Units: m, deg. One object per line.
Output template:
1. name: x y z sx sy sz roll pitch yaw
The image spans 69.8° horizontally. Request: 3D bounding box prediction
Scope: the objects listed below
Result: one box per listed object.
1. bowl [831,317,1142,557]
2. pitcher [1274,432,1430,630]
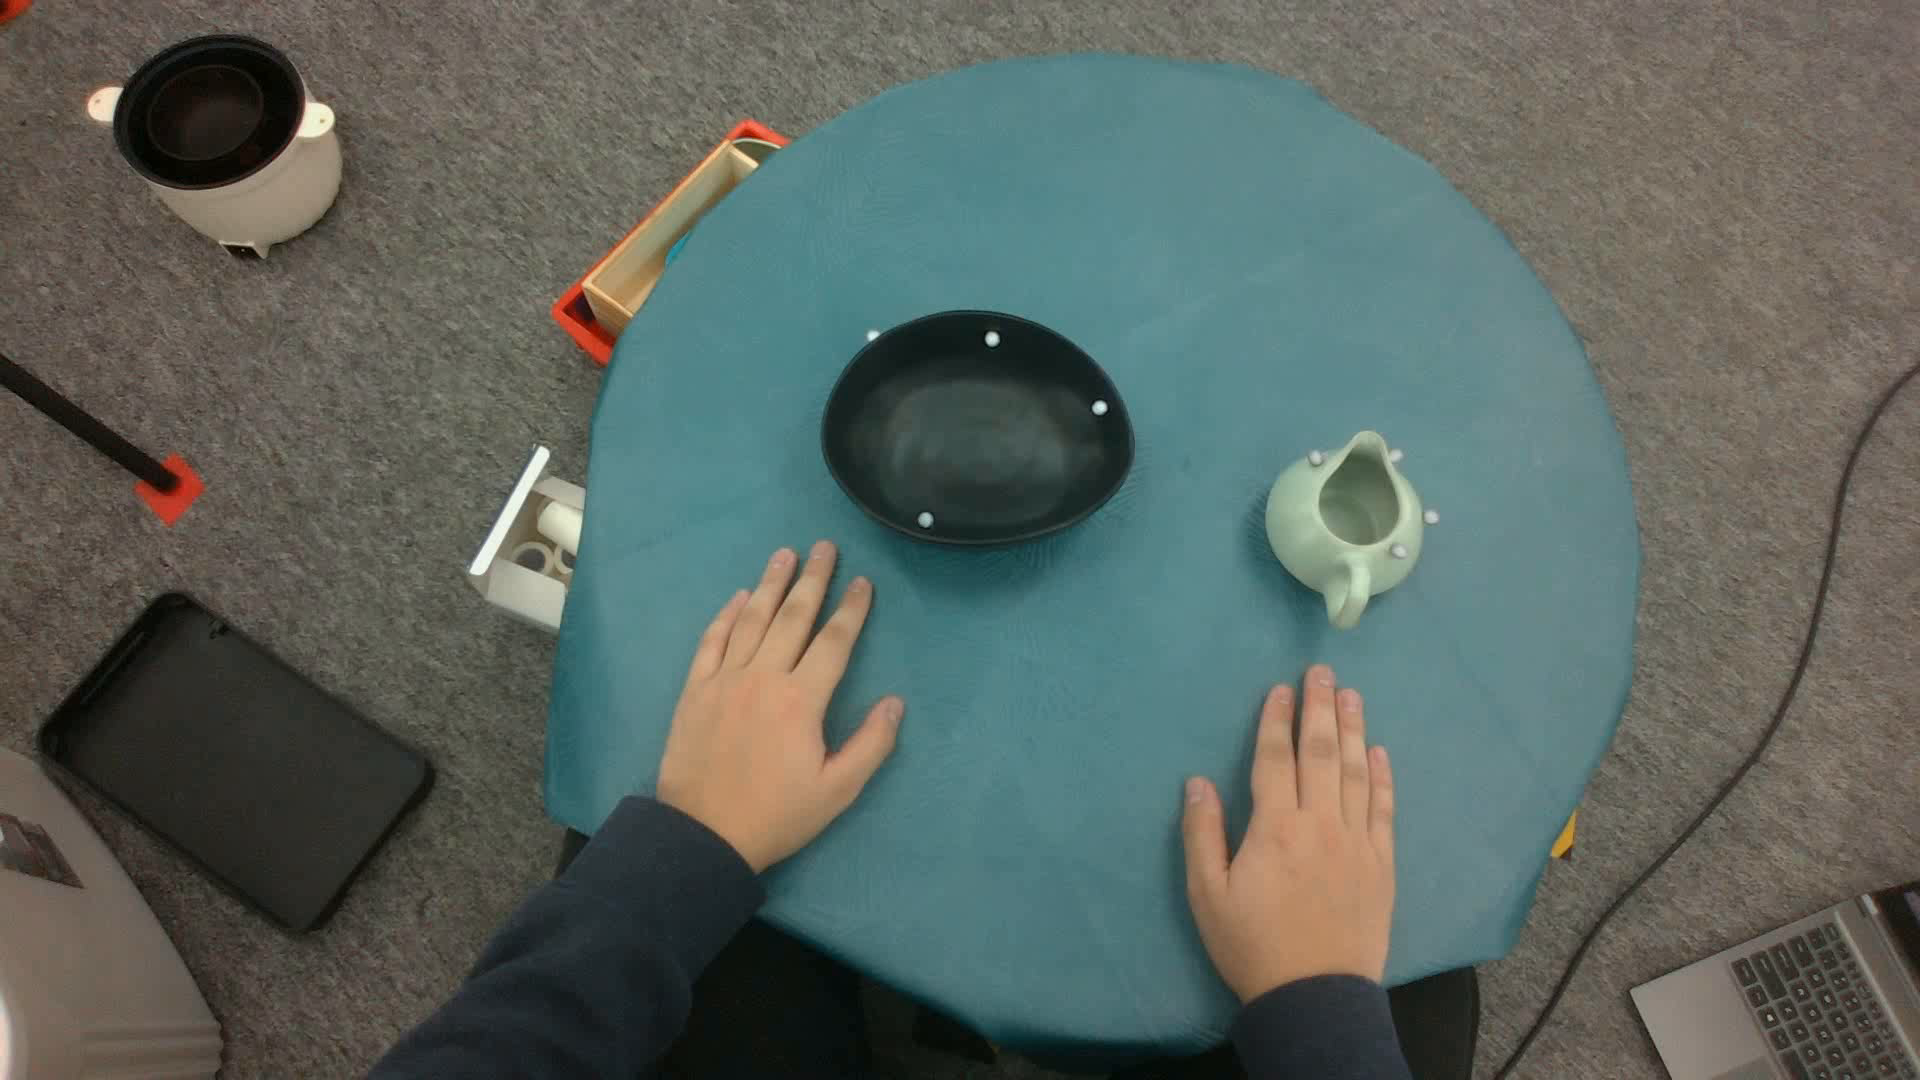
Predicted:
1. bowl: 0.015 -0.050 0.771 0.170 0.066 0.138 1 71 -2
2. pitcher: 0.218 -0.001 0.761 0.086 0.060 0.108 7 73 3
